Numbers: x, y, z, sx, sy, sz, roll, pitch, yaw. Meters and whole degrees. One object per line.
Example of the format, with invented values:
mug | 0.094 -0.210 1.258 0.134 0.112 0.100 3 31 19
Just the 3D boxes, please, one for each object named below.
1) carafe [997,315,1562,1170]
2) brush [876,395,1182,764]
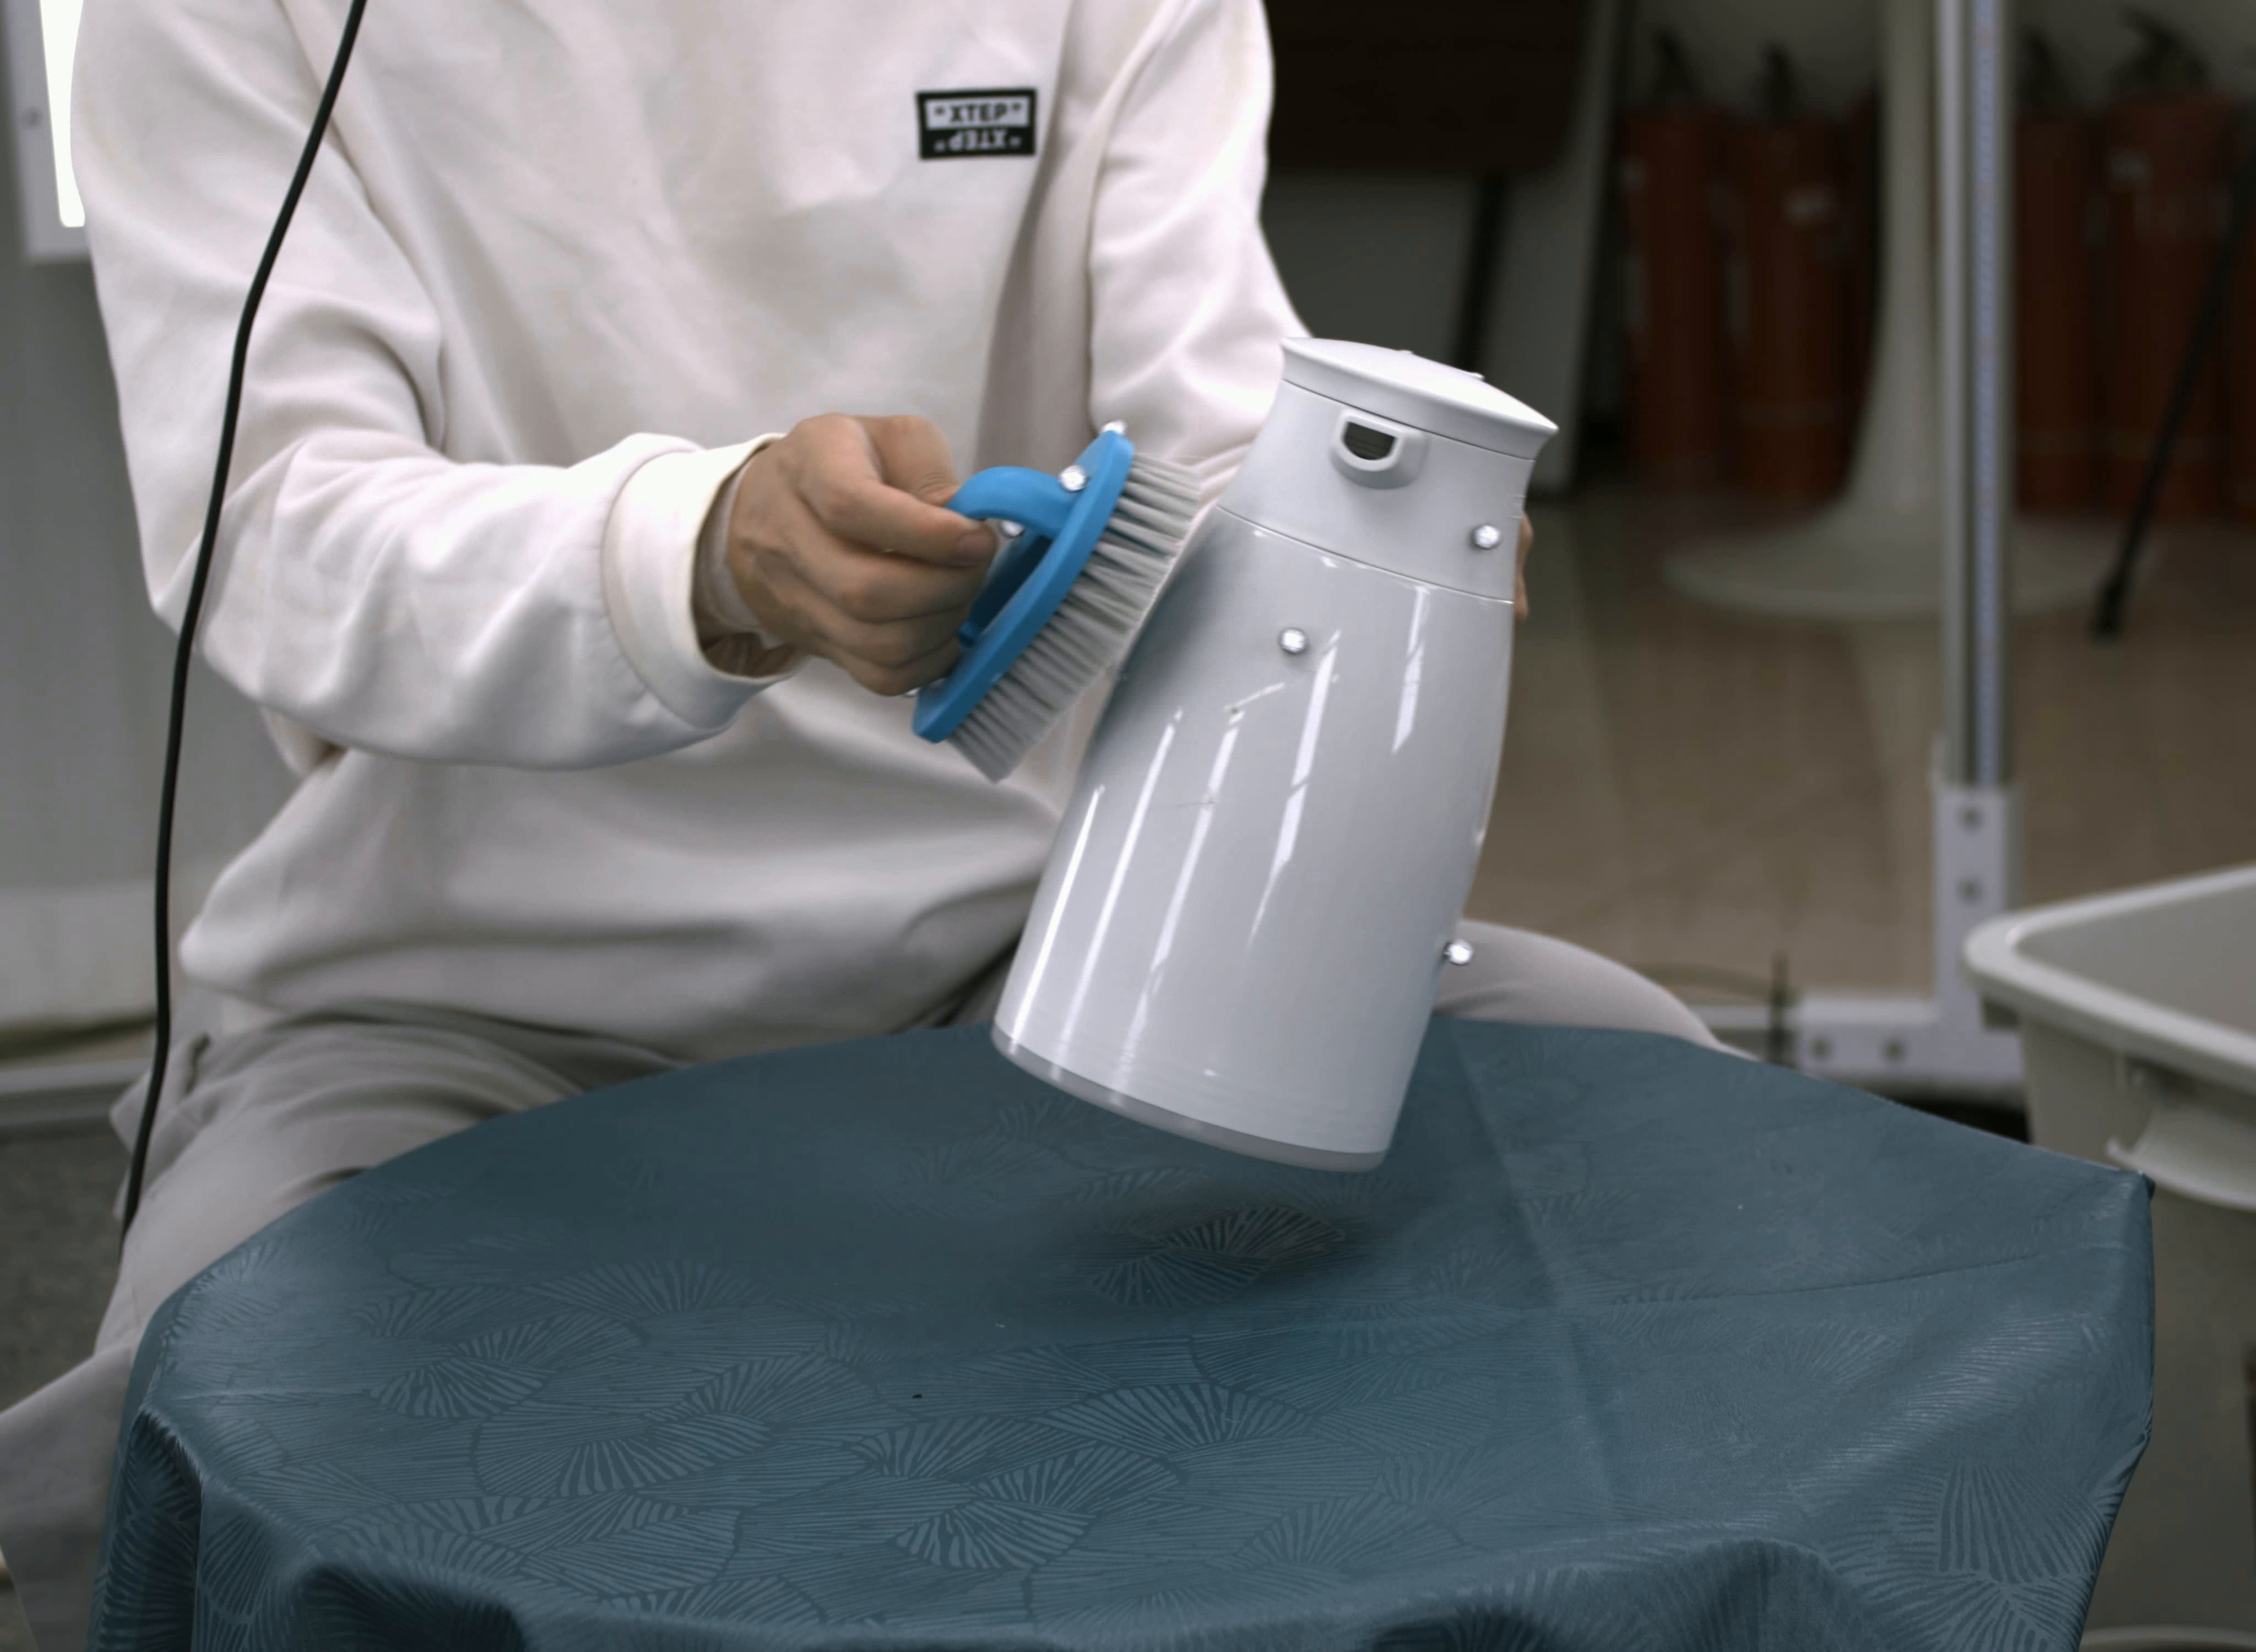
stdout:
carafe | 0.060 -0.034 1.709 0.132 0.251 0.166 18 6 10
brush | -0.039 -0.080 1.681 0.063 0.085 0.143 26 -34 -12
